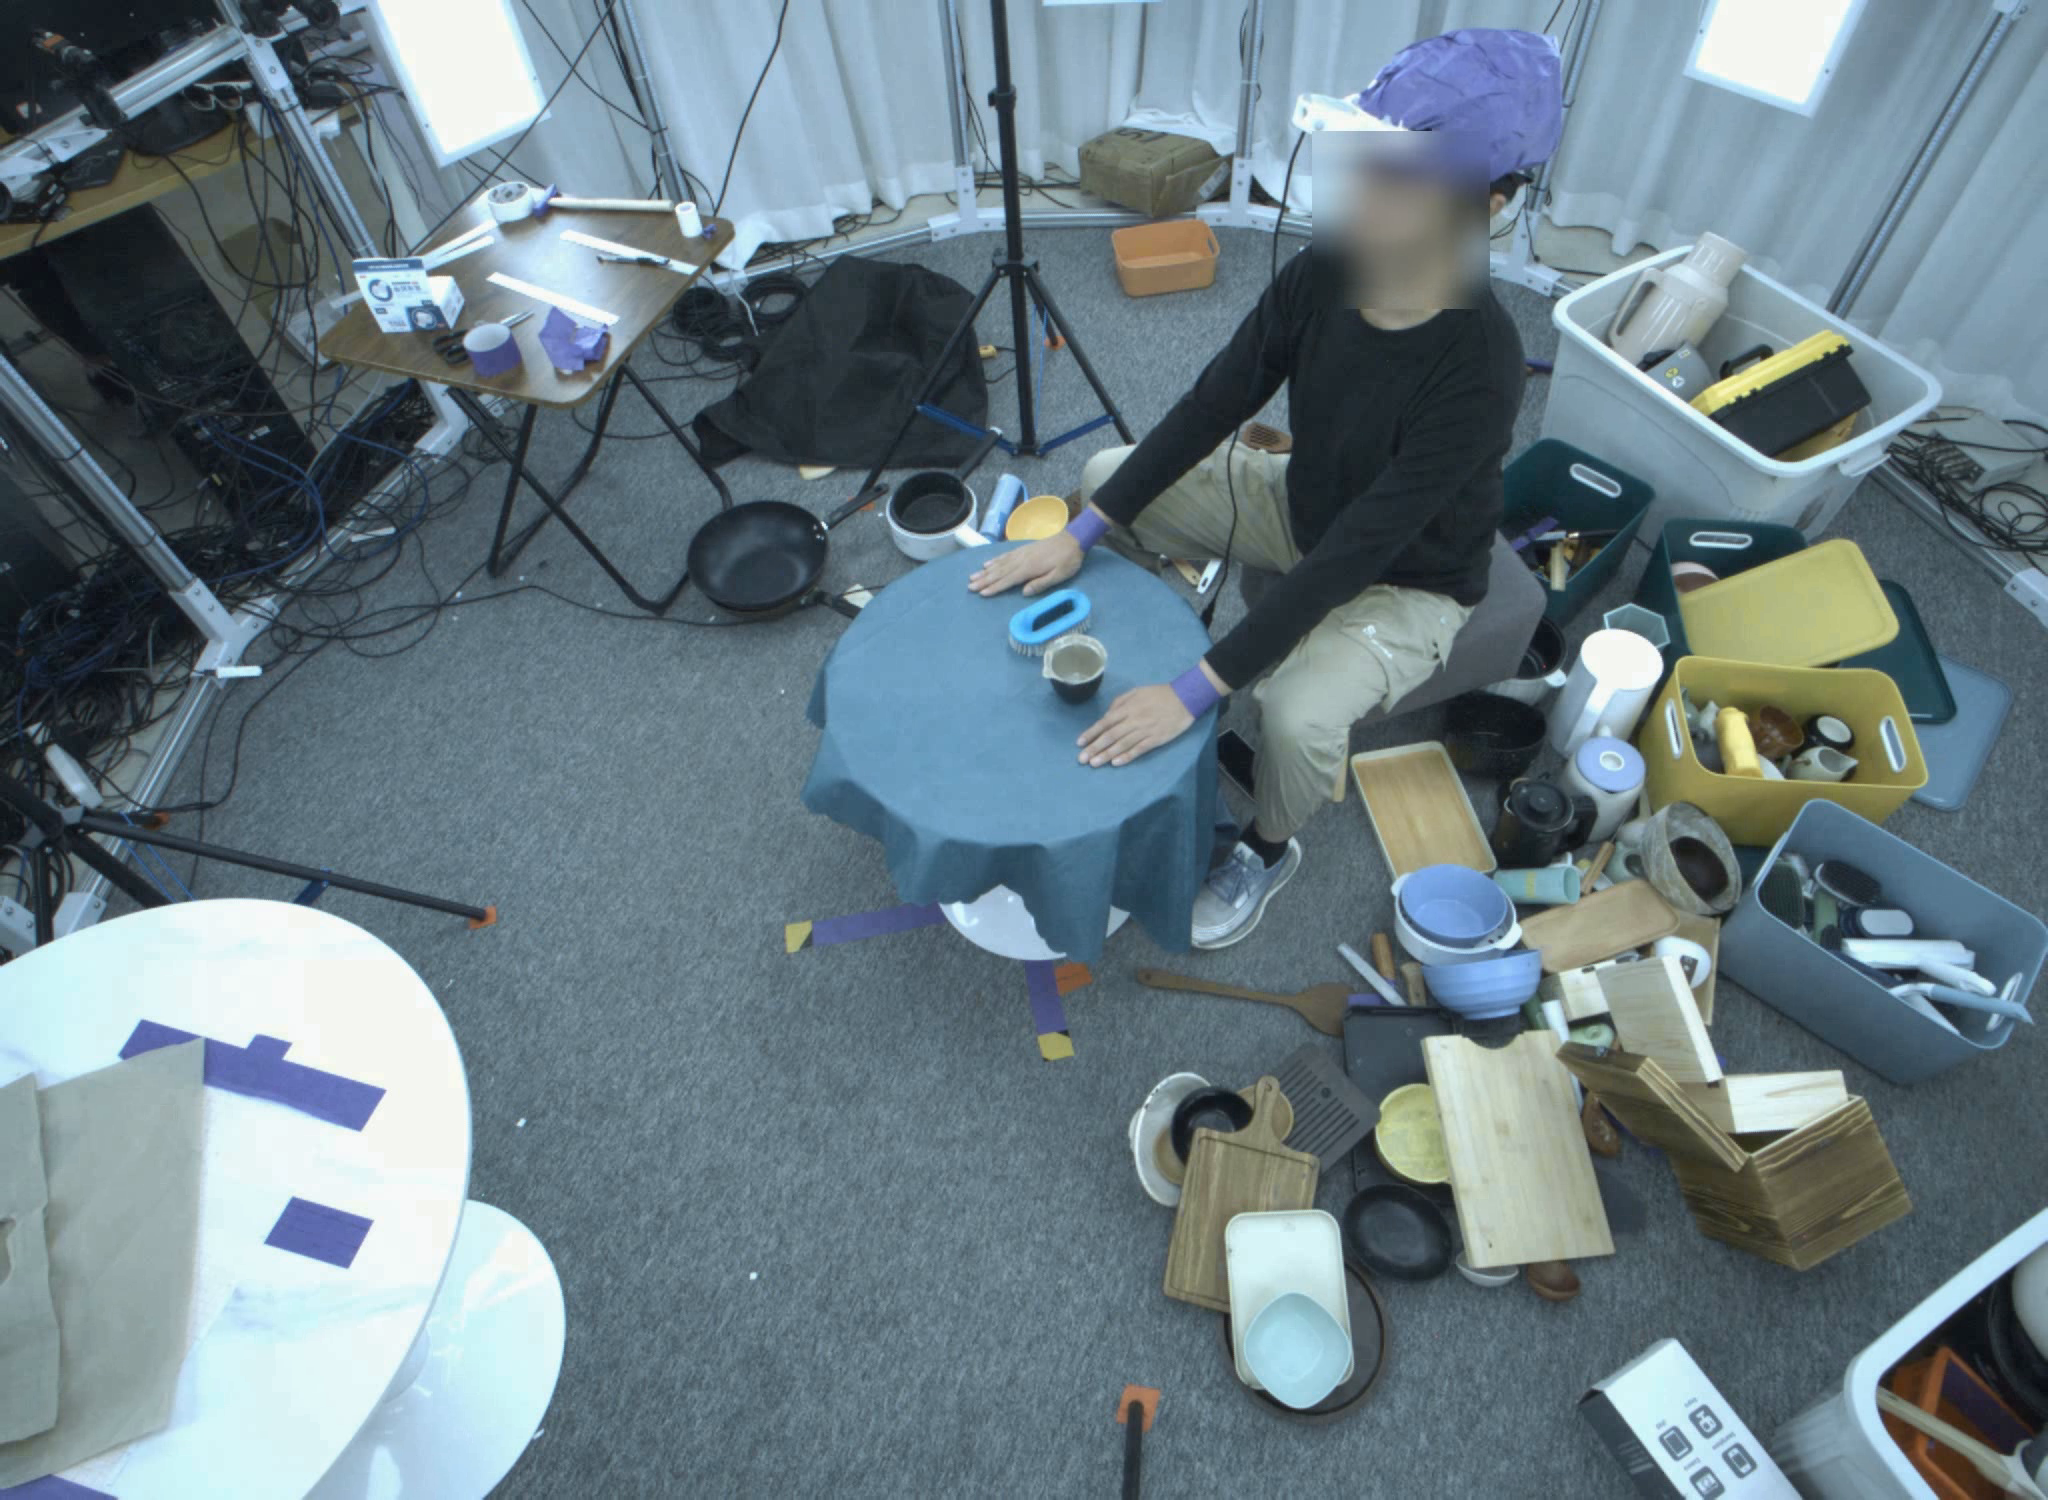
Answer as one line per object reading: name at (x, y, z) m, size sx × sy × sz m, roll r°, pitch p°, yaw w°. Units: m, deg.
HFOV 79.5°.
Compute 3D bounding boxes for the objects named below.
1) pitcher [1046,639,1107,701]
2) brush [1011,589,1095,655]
pitcher at (0.077, -0.112, 1.820) m, size 0.096 × 0.072 × 0.082 m, roll -24°, pitch 58°, yaw -12°
brush at (0.042, -0.209, 1.896) m, size 0.143 × 0.064 × 0.082 m, roll -29°, pitch 54°, yaw -19°
